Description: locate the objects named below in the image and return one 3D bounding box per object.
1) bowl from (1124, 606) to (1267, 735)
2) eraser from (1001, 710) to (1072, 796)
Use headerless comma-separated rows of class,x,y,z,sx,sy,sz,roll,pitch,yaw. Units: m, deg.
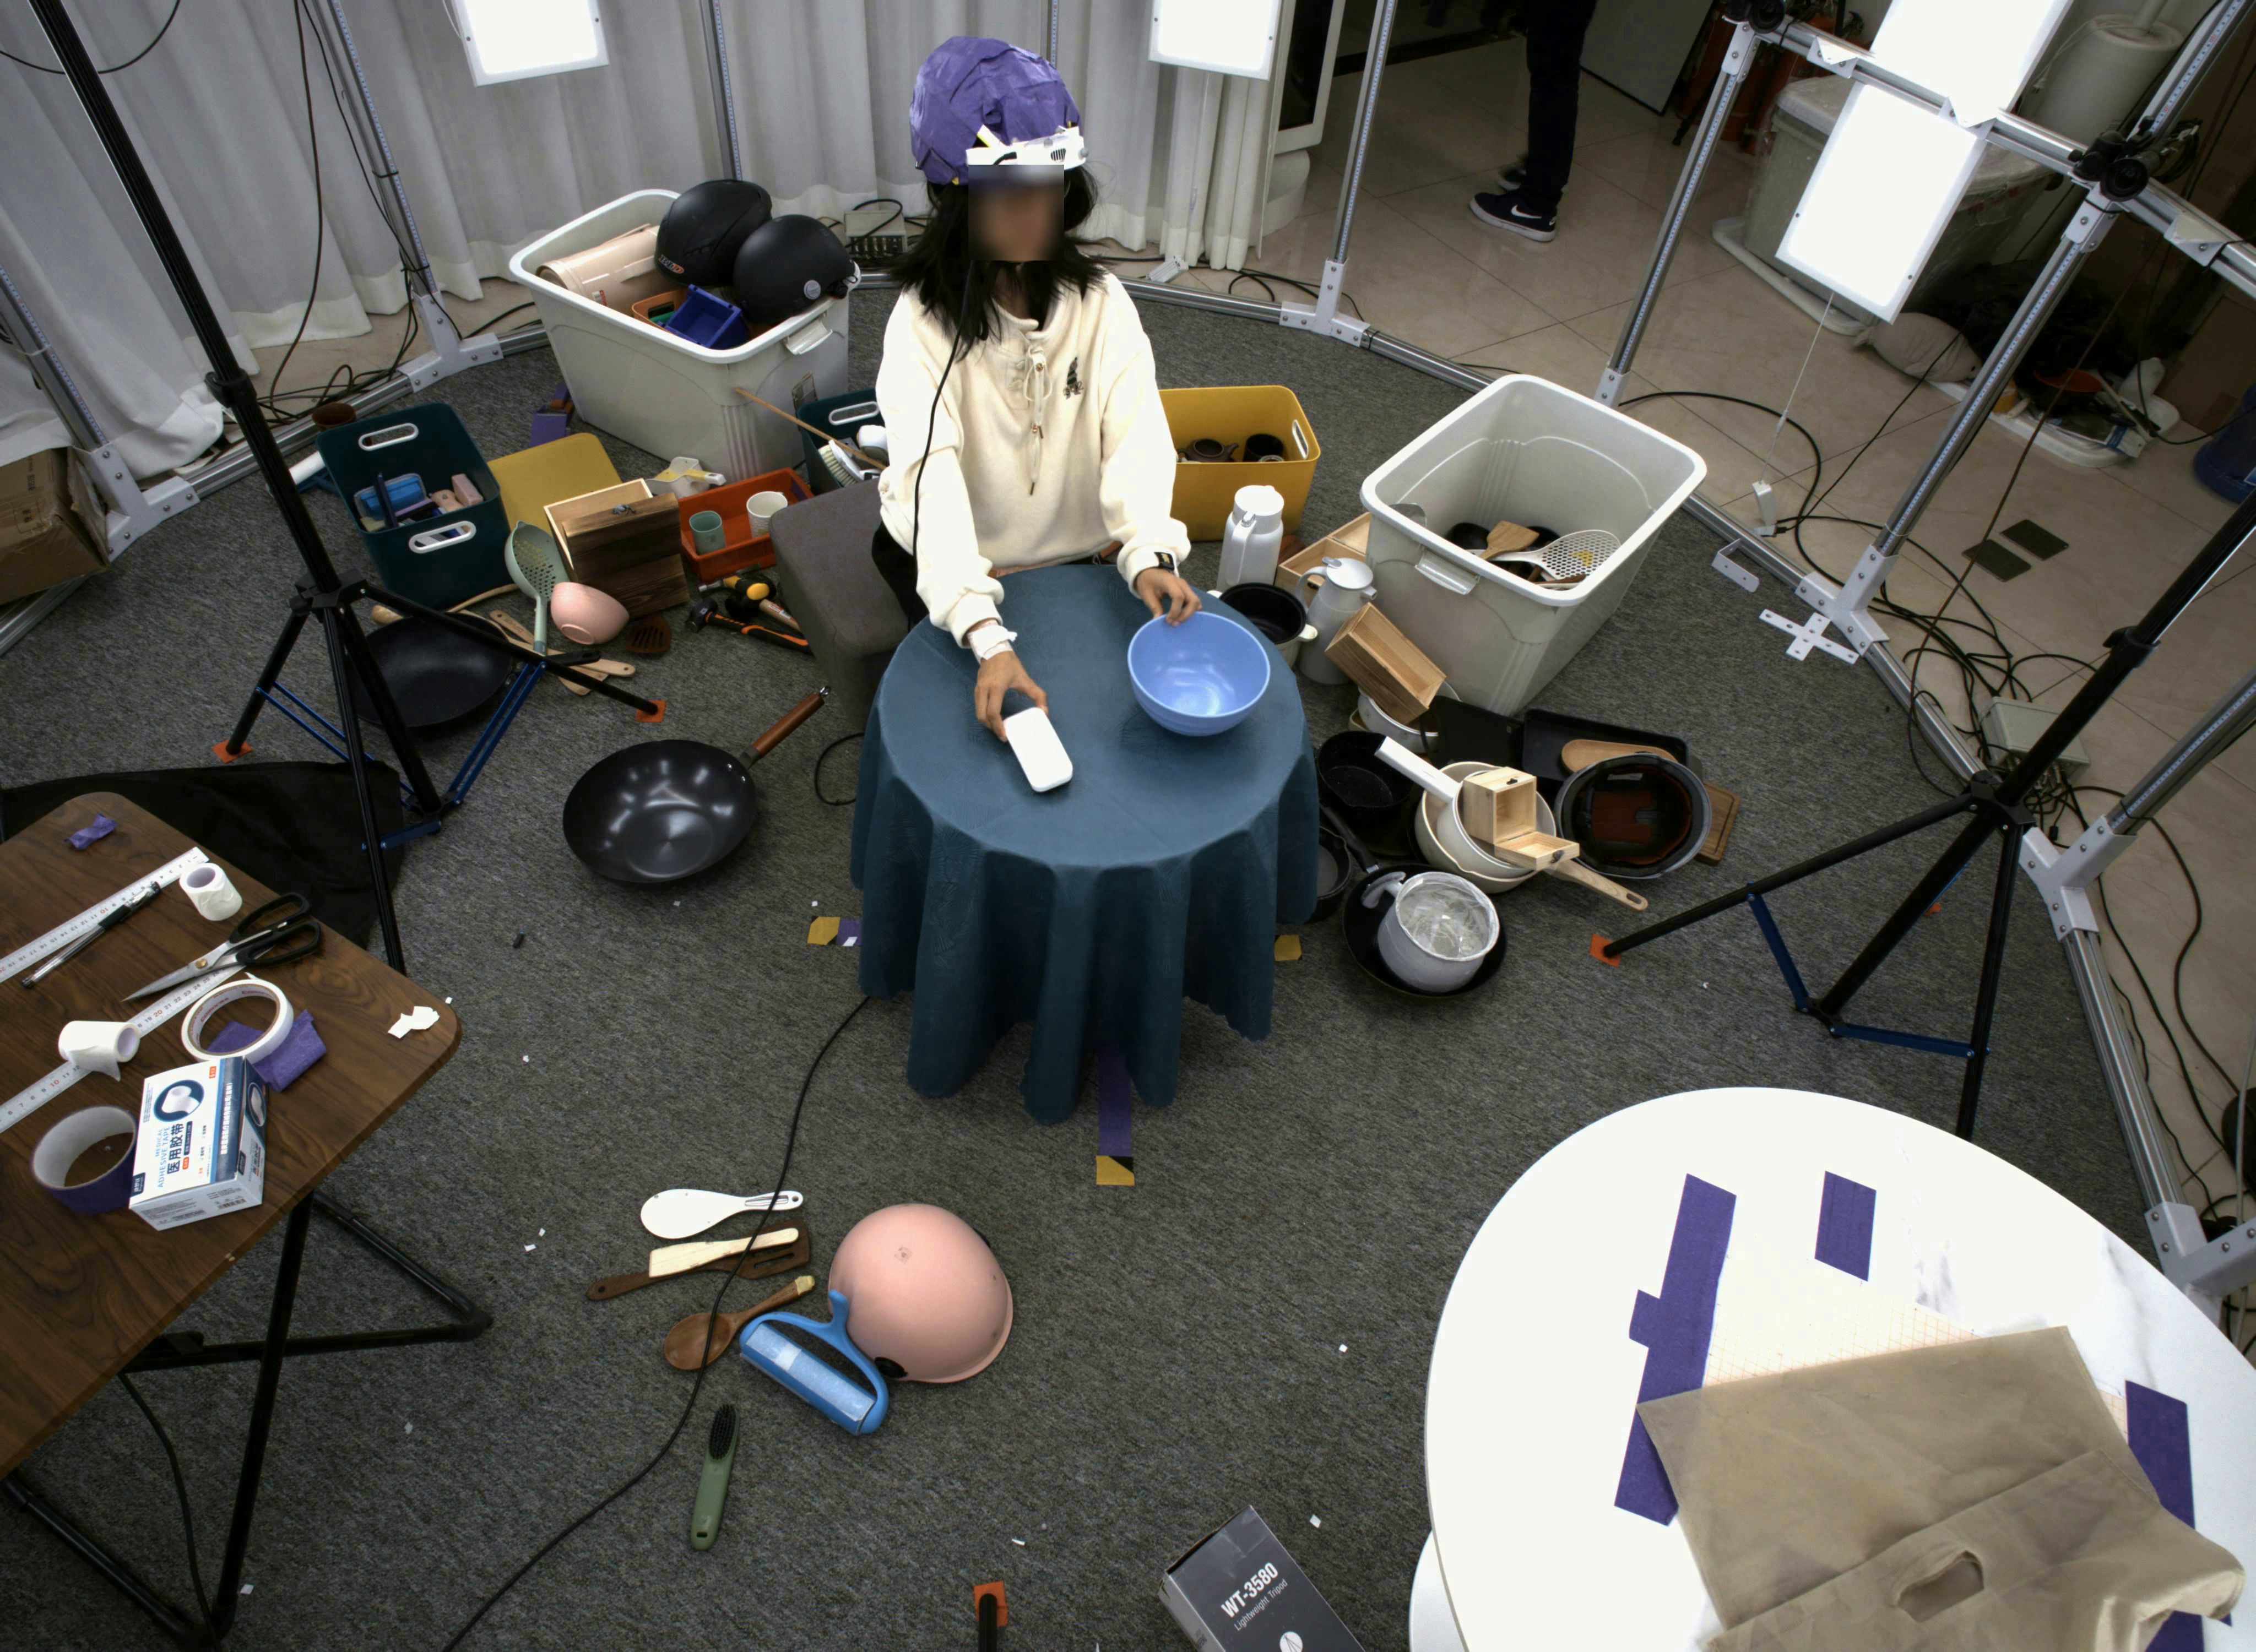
bowl,0.089,-0.201,1.785,0.196,0.093,0.201,2,57,-4
eraser,-0.122,-0.101,1.725,0.063,0.034,0.134,-21,55,-11
